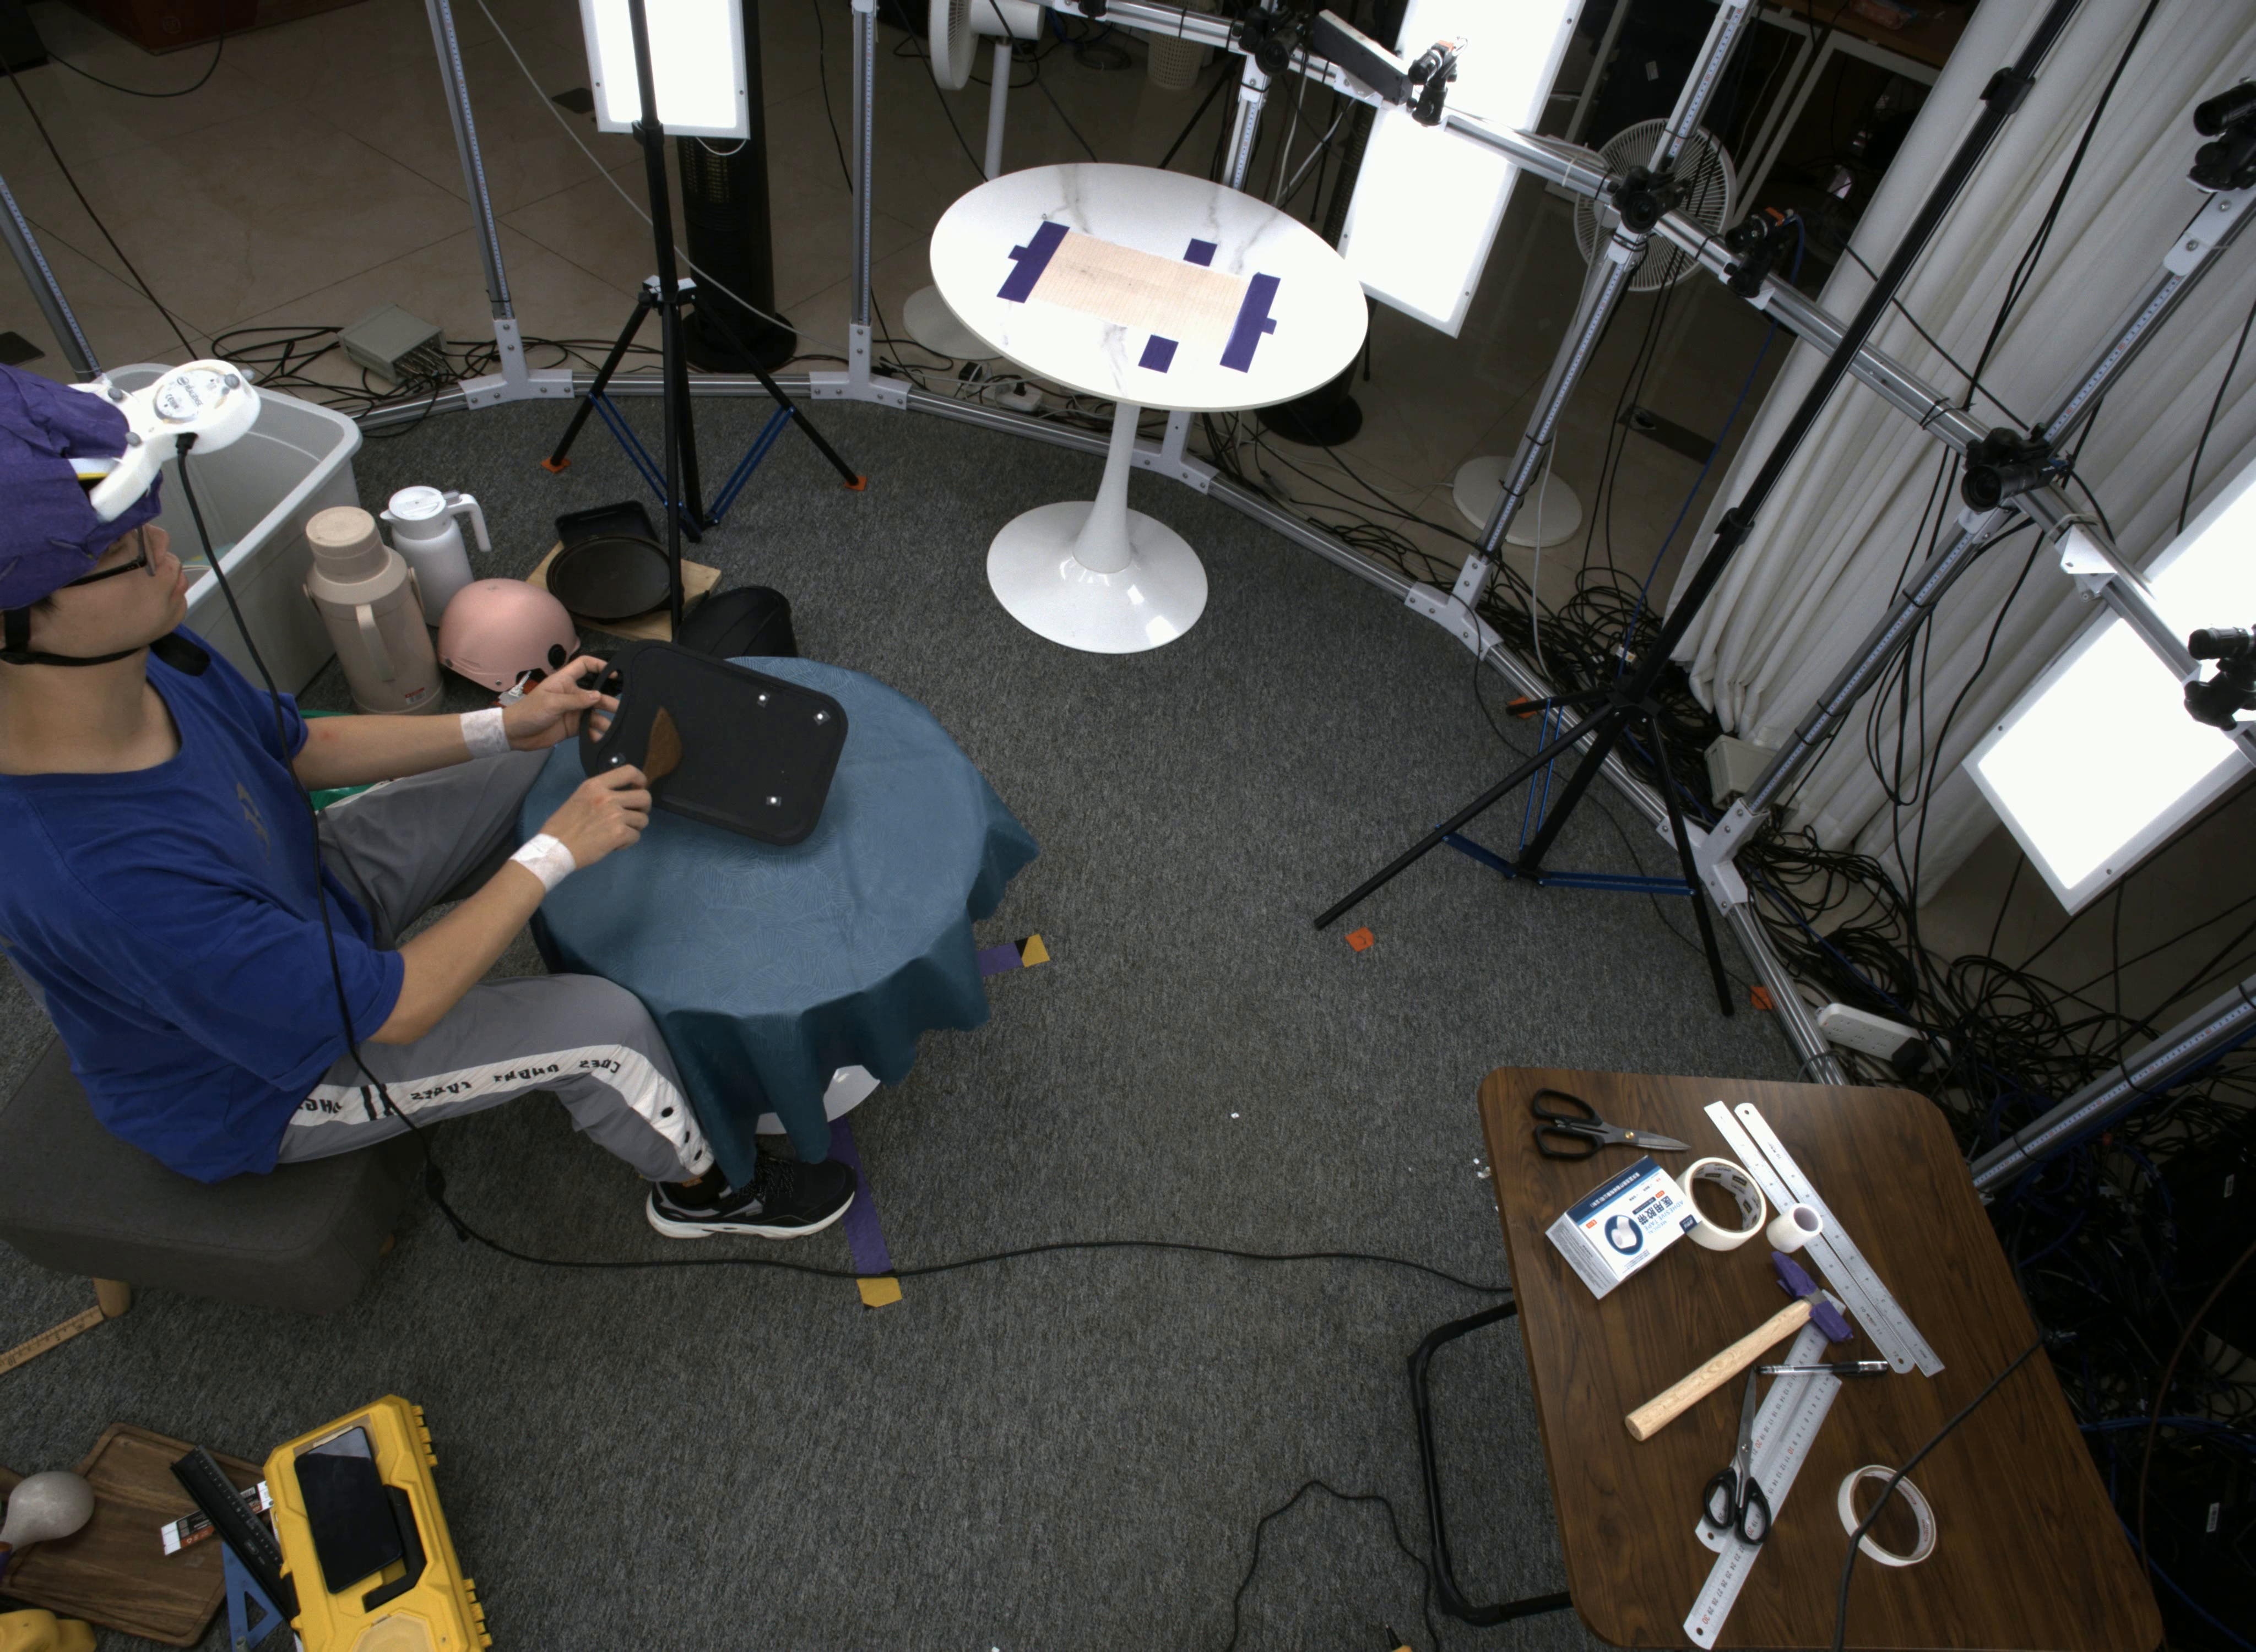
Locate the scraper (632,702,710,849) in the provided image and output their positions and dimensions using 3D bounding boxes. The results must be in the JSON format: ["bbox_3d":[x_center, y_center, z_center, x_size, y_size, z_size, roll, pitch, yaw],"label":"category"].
[{"bbox_3d":[-0.561,-0.059,1.574,0.010,0.078,0.208,3,49,12],"label":"scraper"}]

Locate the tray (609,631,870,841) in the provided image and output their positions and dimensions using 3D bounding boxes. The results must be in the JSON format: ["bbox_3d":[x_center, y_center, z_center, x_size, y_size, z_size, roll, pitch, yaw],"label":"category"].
[{"bbox_3d":[-0.511,-0.120,1.672,0.327,0.010,0.212,19,81,-12],"label":"tray"}]
